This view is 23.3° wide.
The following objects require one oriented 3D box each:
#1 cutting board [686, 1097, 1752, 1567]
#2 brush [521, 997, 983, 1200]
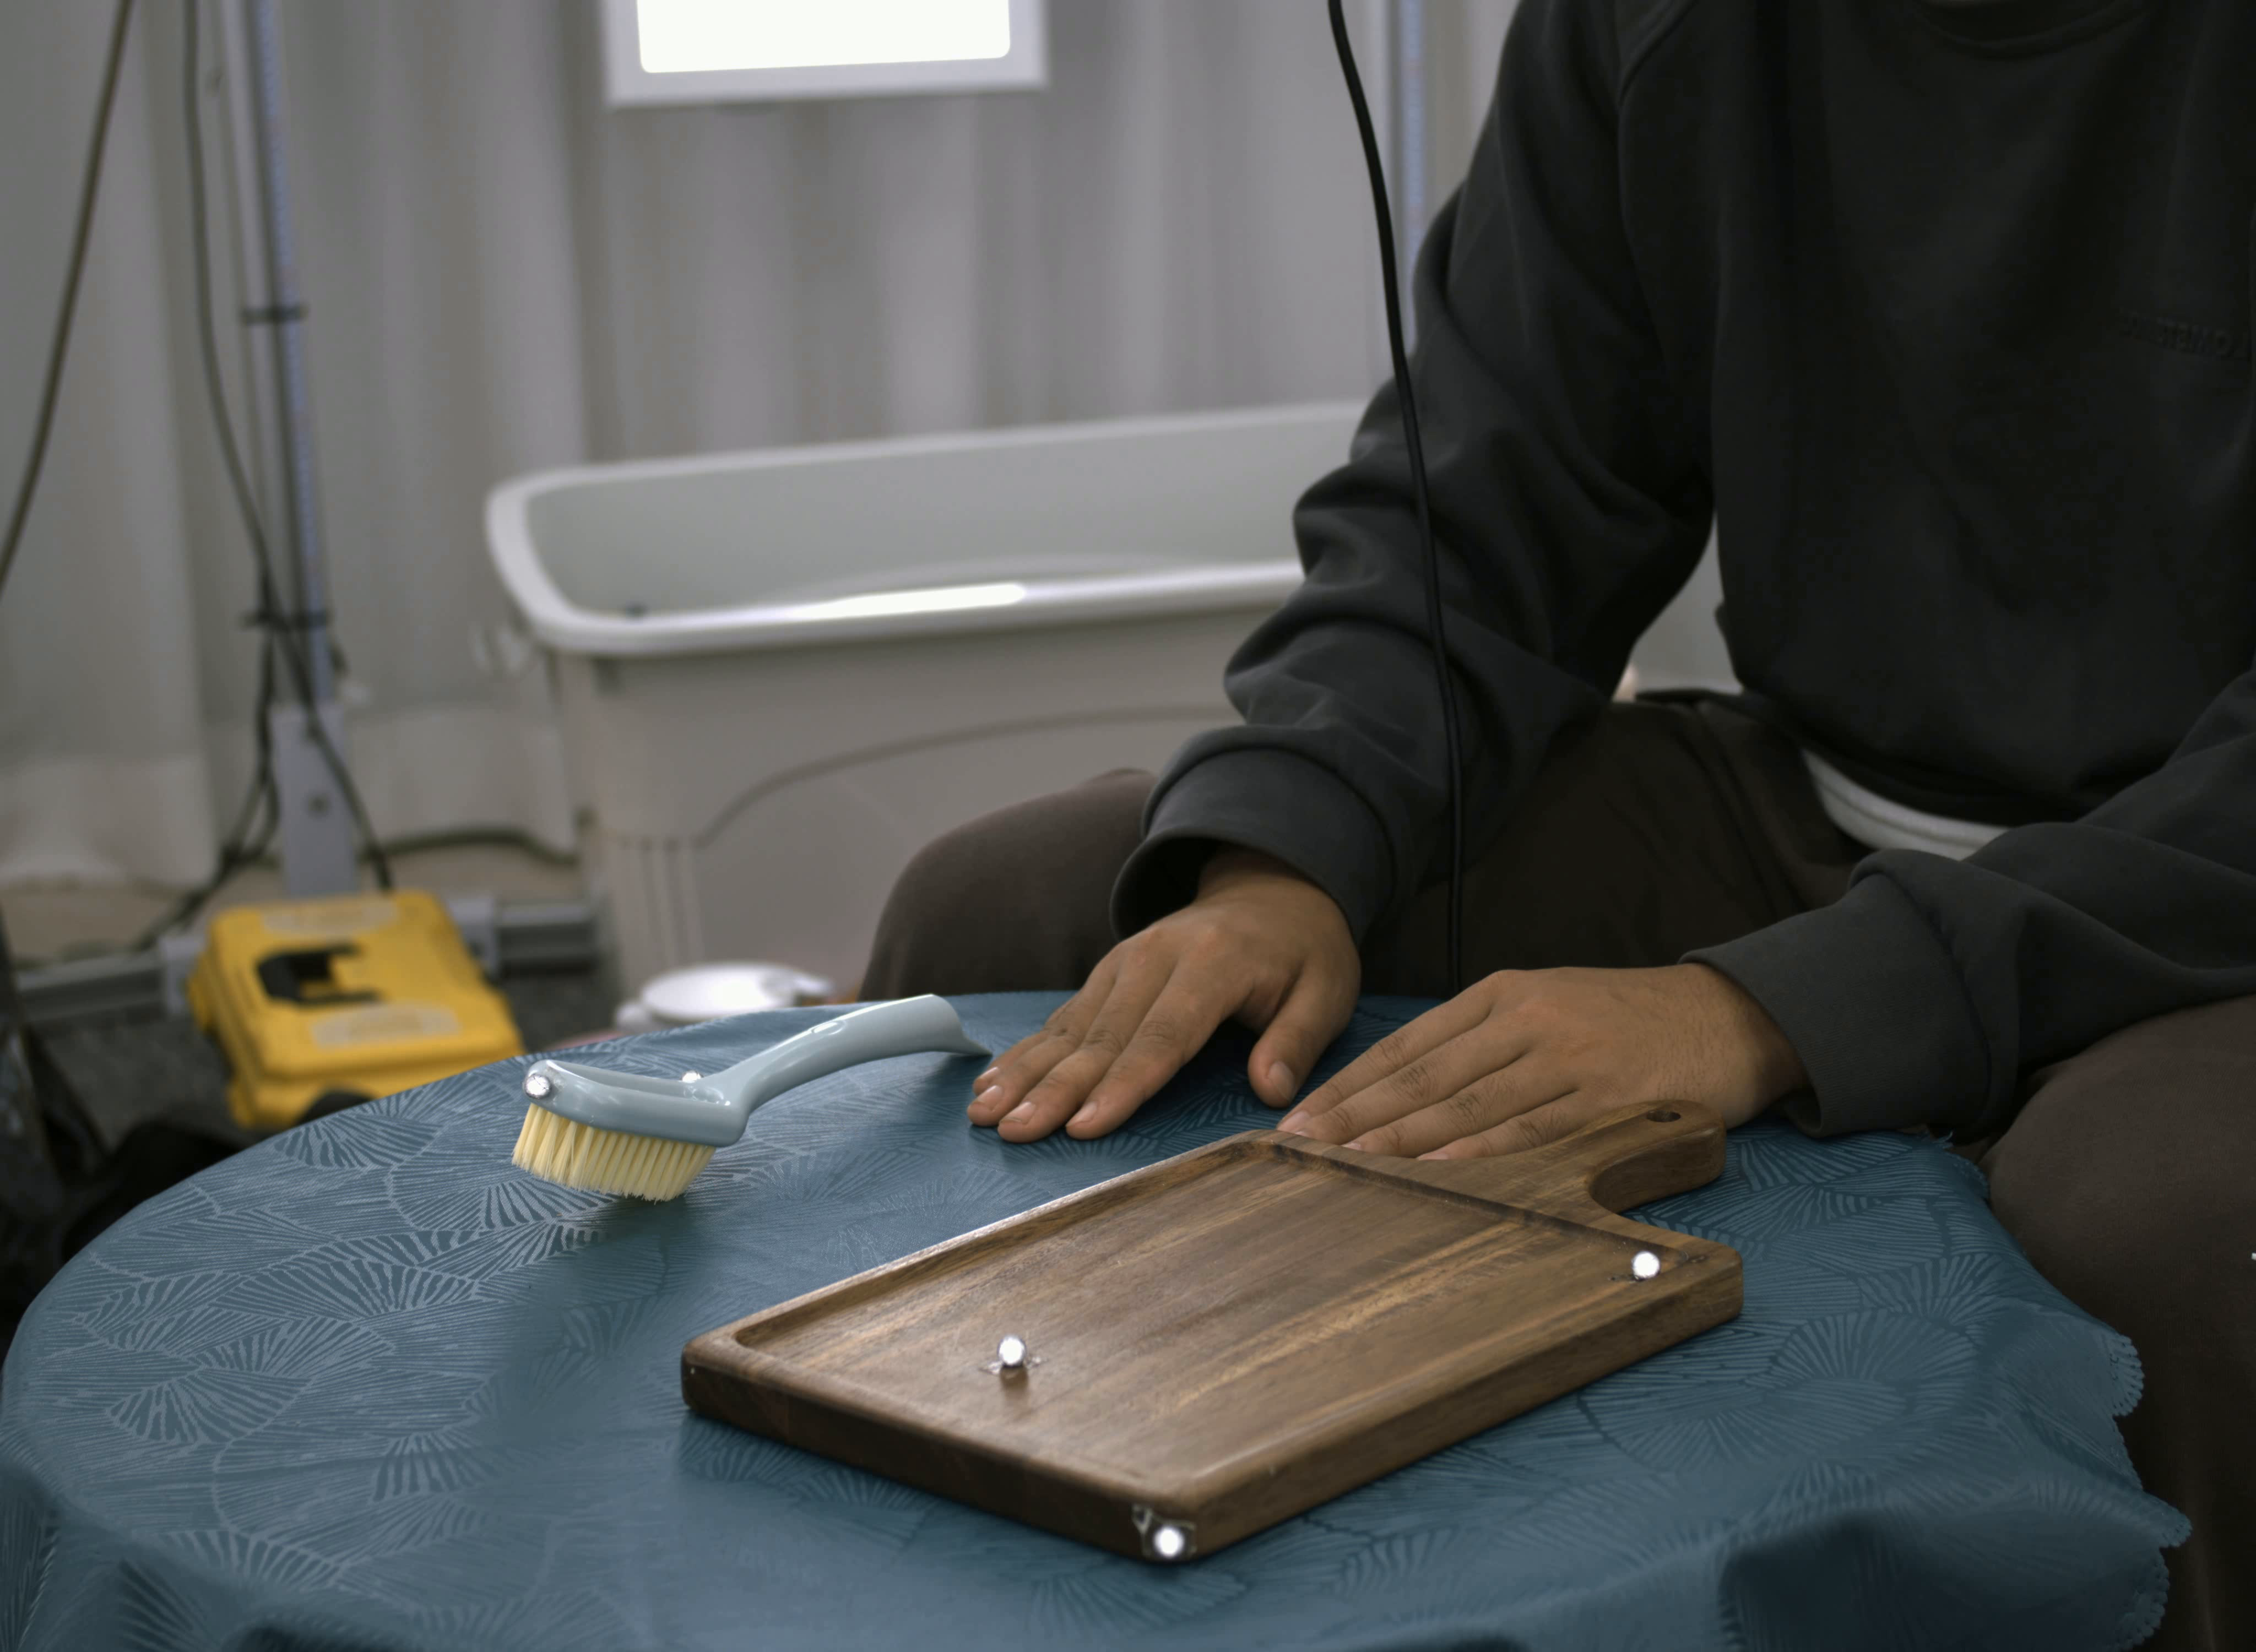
[{"bbox_3d":[0.062,0.133,1.597,0.202,0.023,0.351,12,21,43],"label":"cutting board"},{"bbox_3d":[-0.119,0.089,1.775,0.038,0.049,0.228,20,17,29],"label":"brush"}]
